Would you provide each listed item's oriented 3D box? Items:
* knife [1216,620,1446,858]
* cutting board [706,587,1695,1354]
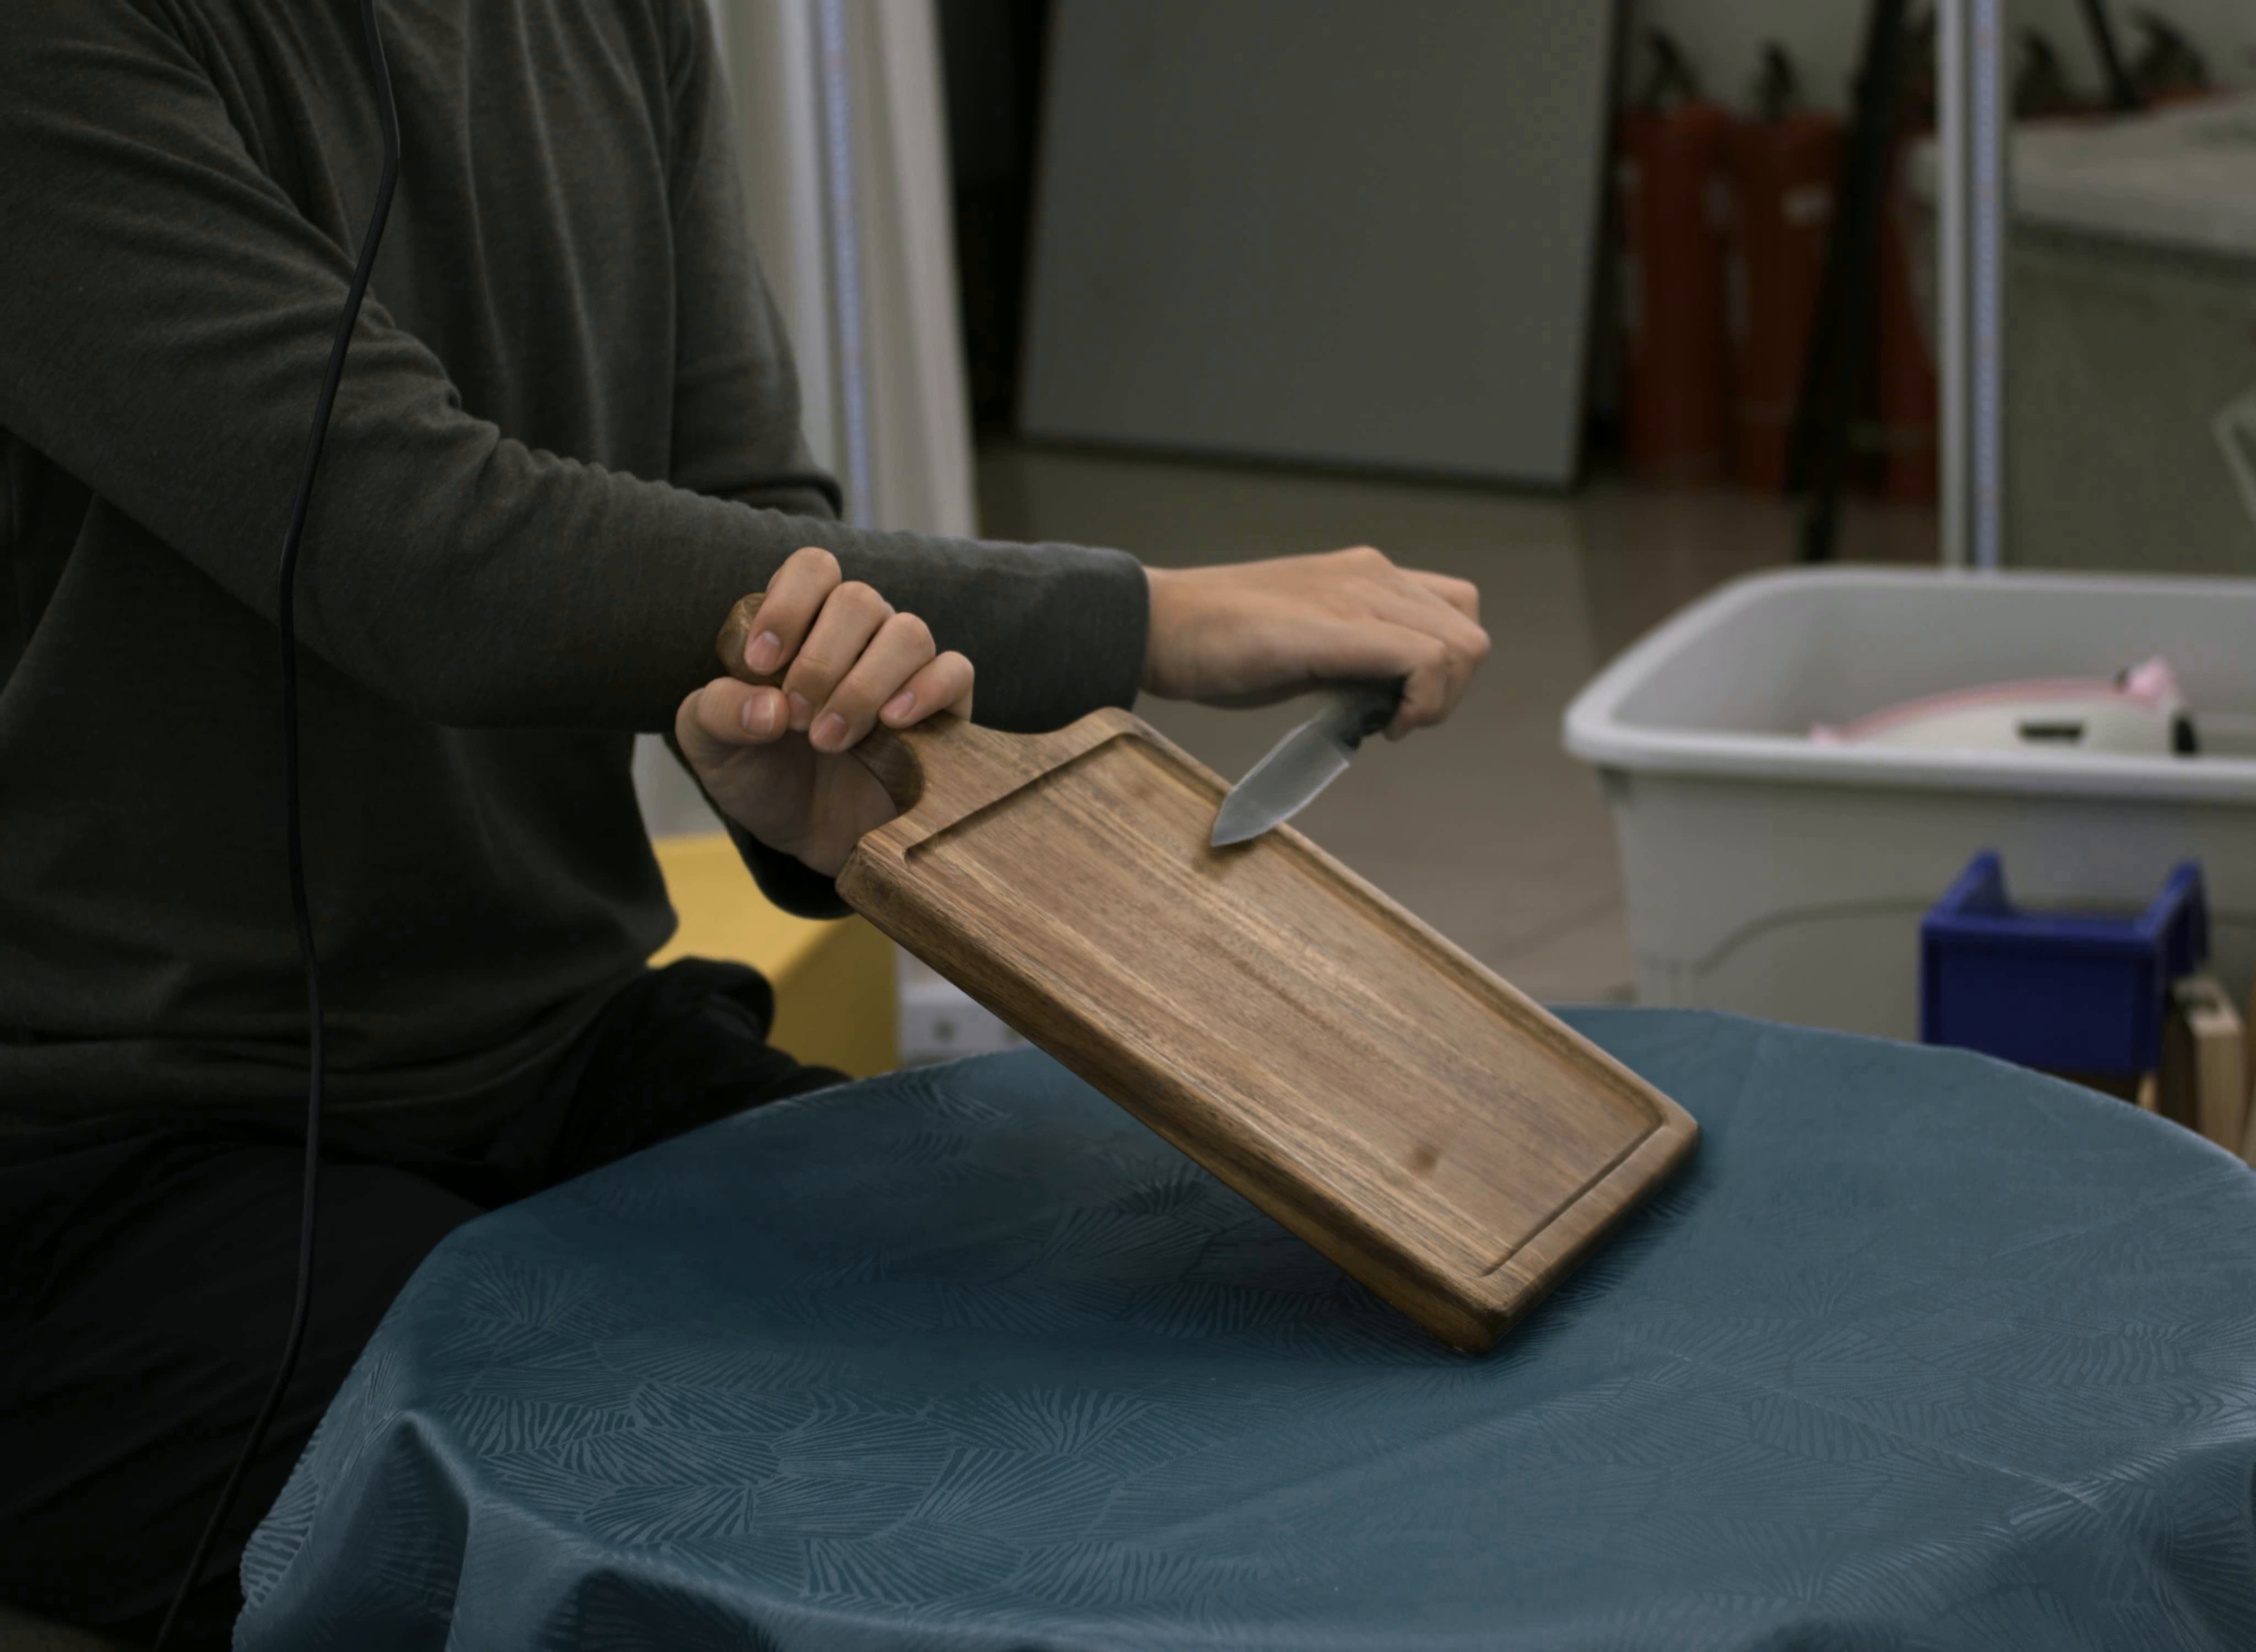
[{"bbox_3d":[0.067,-0.030,1.854,0.024,0.016,0.236,34,27,6],"label":"knife"},{"bbox_3d":[0.009,0.029,1.714,0.353,0.023,0.198,35,26,14],"label":"cutting board"}]
